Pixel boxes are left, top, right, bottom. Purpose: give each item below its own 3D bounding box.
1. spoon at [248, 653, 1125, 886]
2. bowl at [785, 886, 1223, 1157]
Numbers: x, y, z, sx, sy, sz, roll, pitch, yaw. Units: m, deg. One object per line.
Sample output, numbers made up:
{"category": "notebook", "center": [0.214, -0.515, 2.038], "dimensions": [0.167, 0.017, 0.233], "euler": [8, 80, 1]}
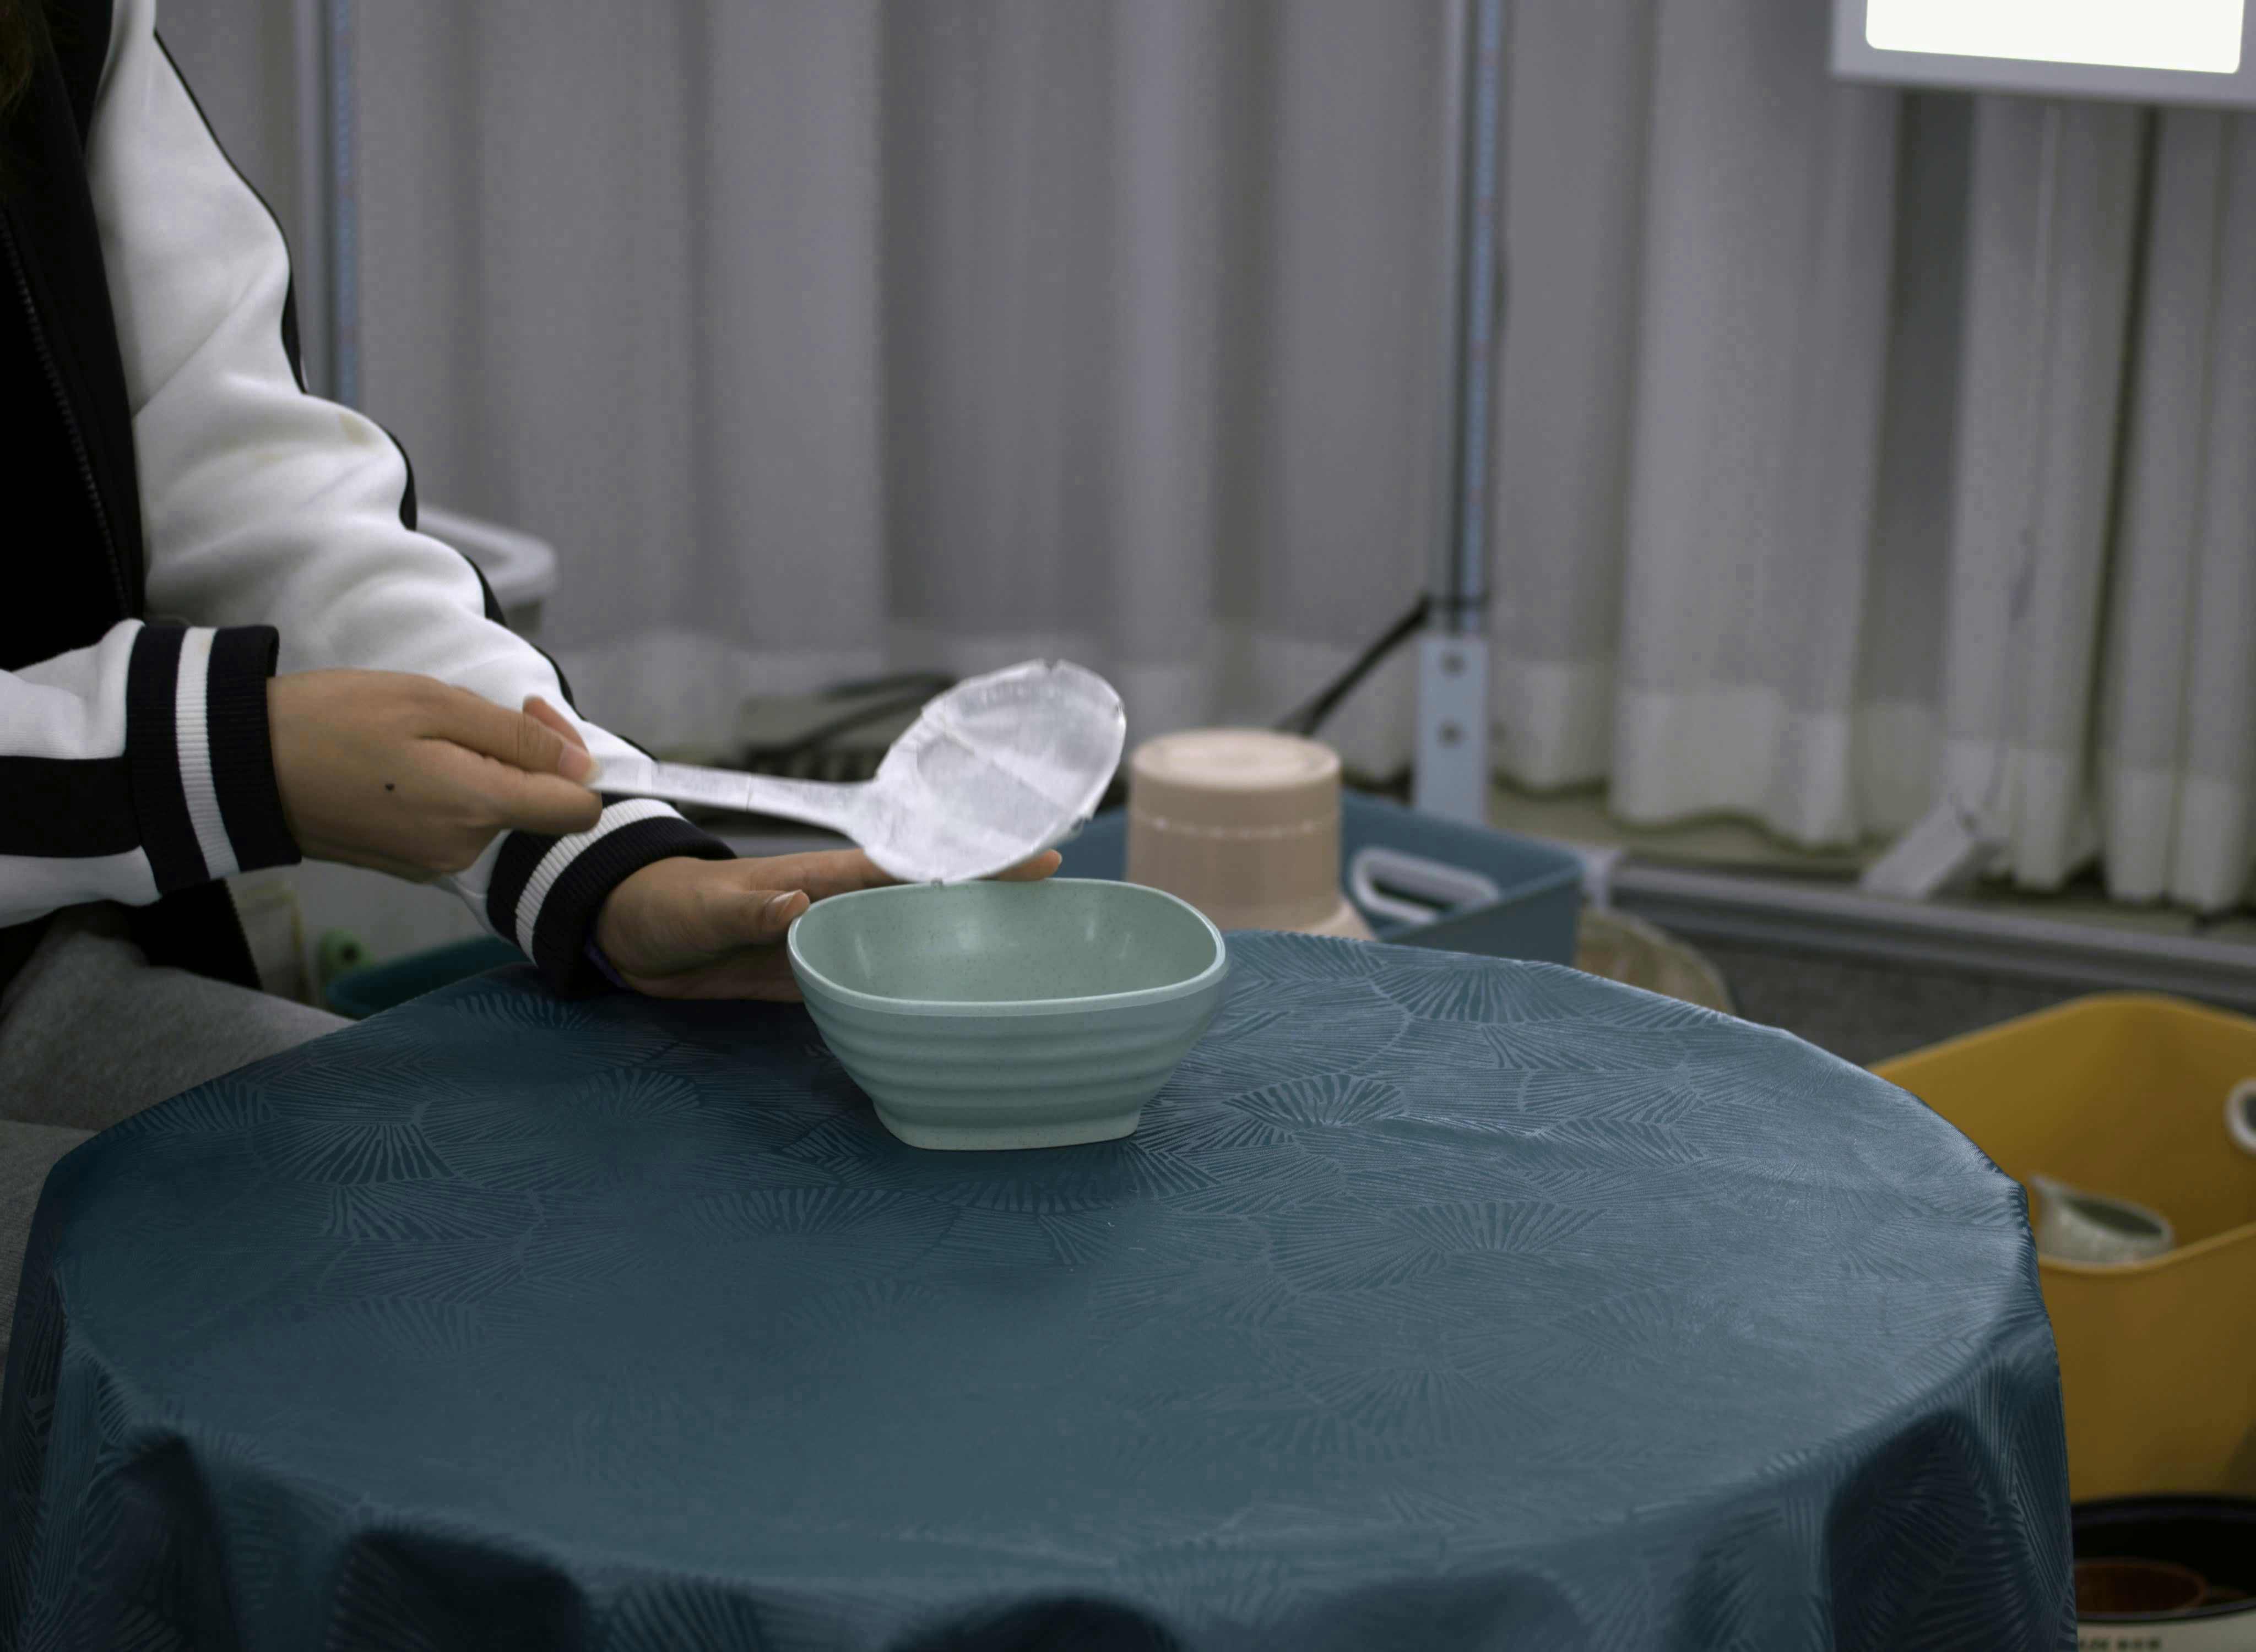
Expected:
{"category": "spoon", "center": [-0.140, -0.036, 1.664], "dimensions": [0.277, 0.060, 0.100], "euler": [12, 40, -2]}
{"category": "bowl", "center": [-0.040, 0.066, 1.689], "dimensions": [0.151, 0.059, 0.150], "euler": [1, 15, 0]}
